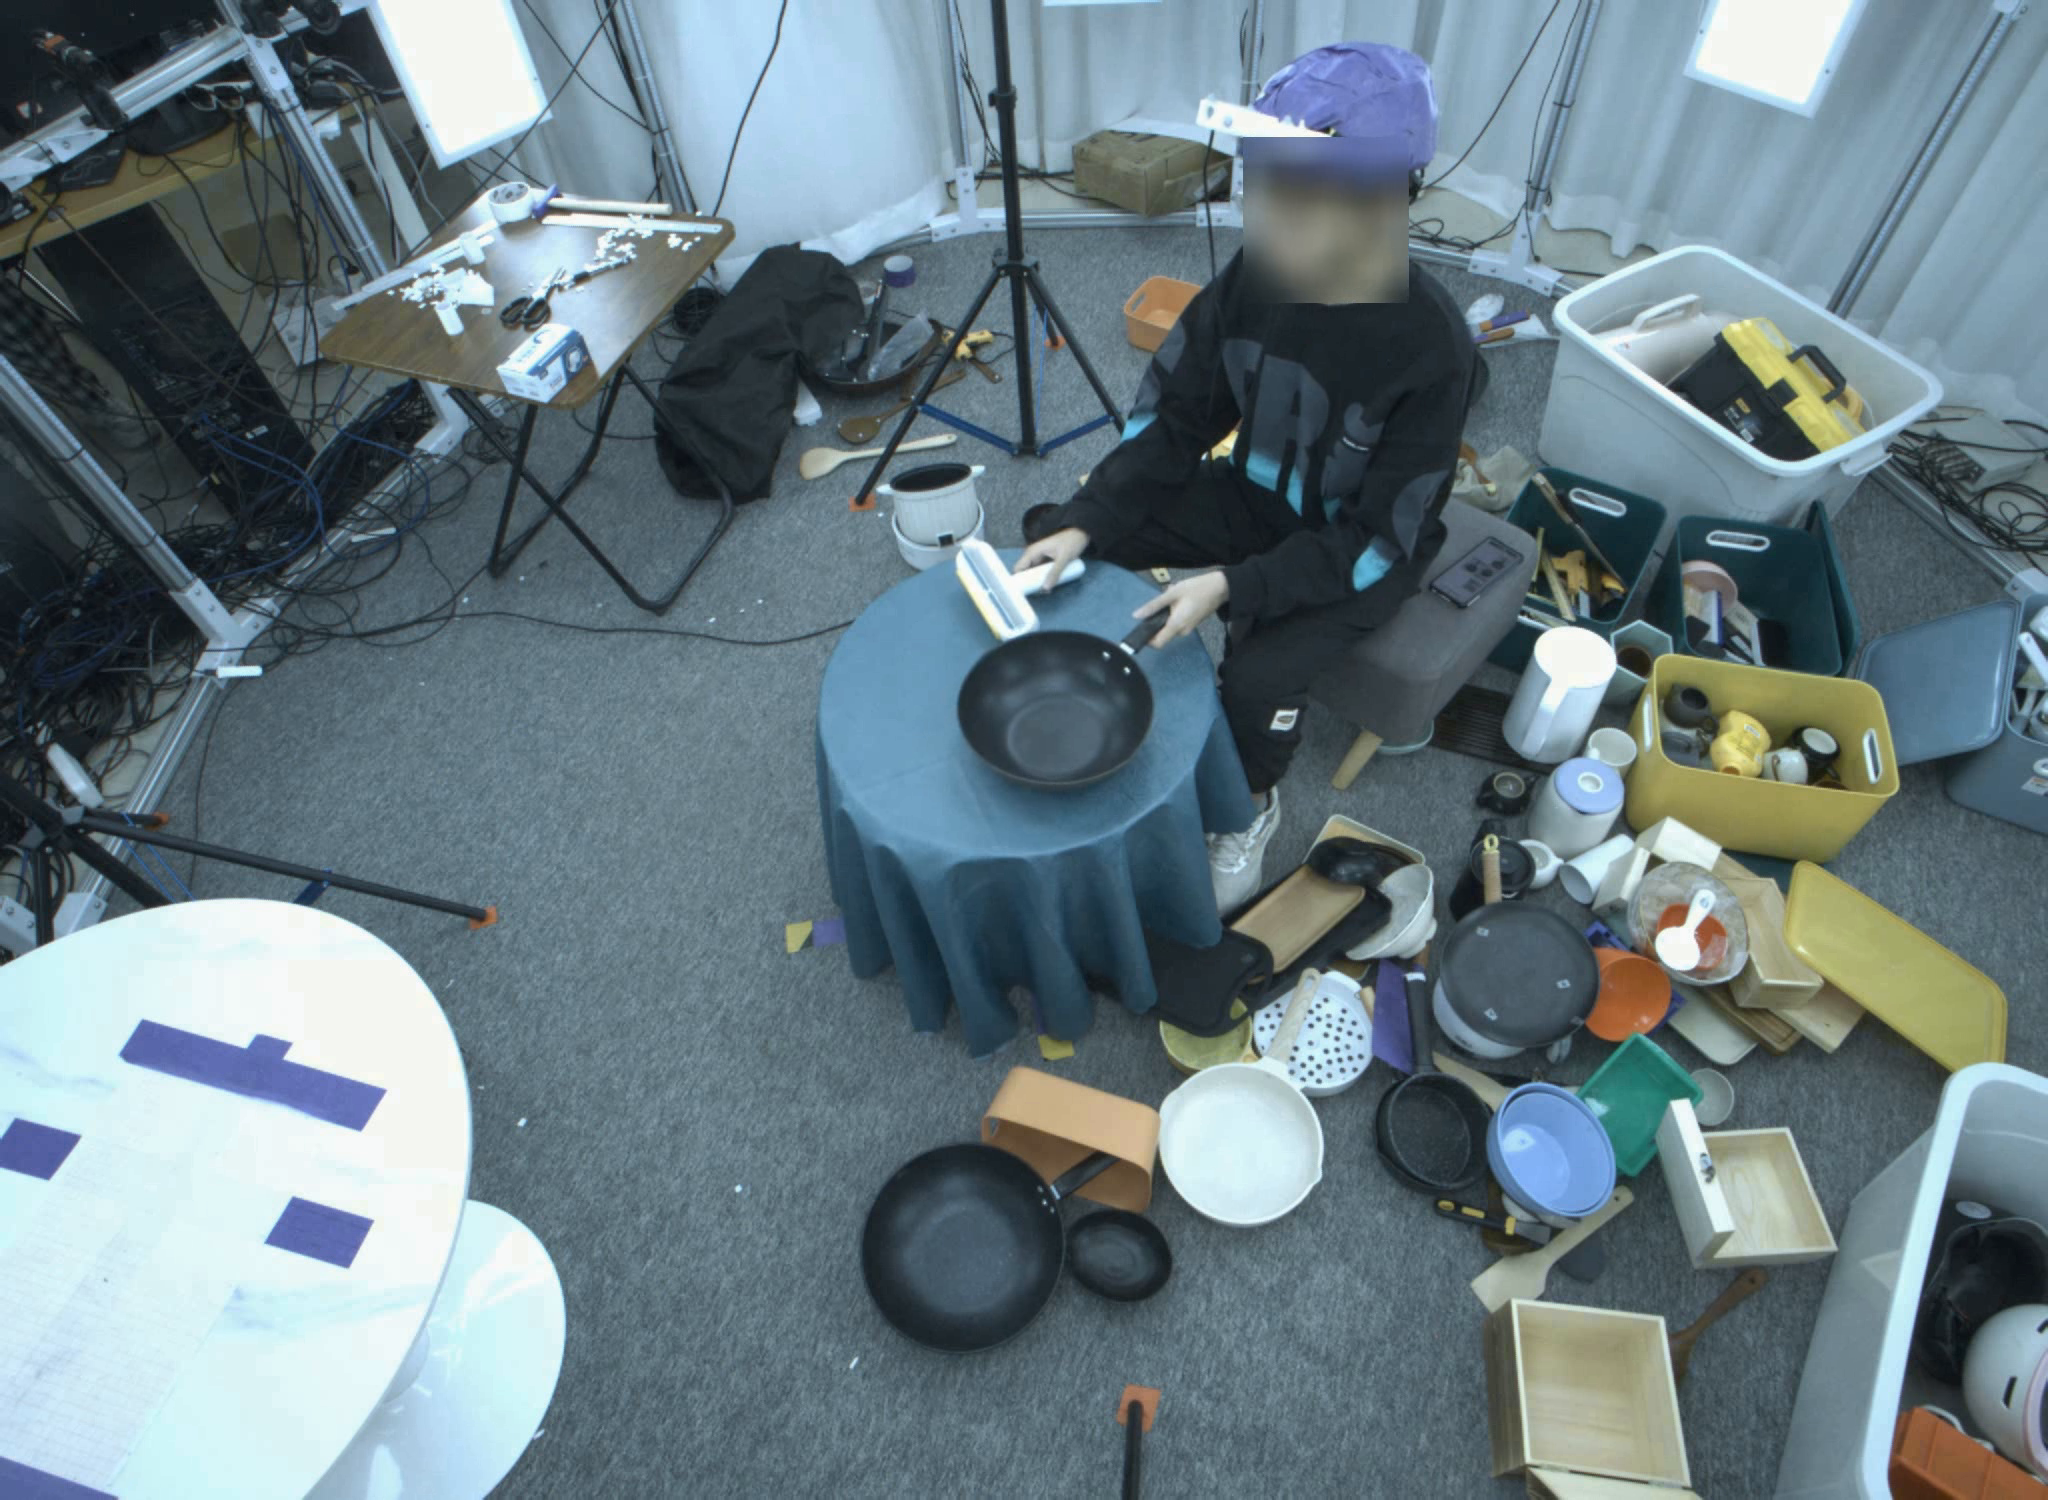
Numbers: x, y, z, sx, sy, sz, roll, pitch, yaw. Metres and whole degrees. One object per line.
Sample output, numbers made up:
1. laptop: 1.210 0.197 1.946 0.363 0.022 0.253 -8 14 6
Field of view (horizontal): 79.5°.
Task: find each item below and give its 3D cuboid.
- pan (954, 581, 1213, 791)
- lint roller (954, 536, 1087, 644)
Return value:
1. pan: 0.108 -0.099 1.797 0.283 0.088 0.466 38 64 25
2. lint roller: 0.007 -0.268 1.923 0.193 0.075 0.190 -24 63 -8
